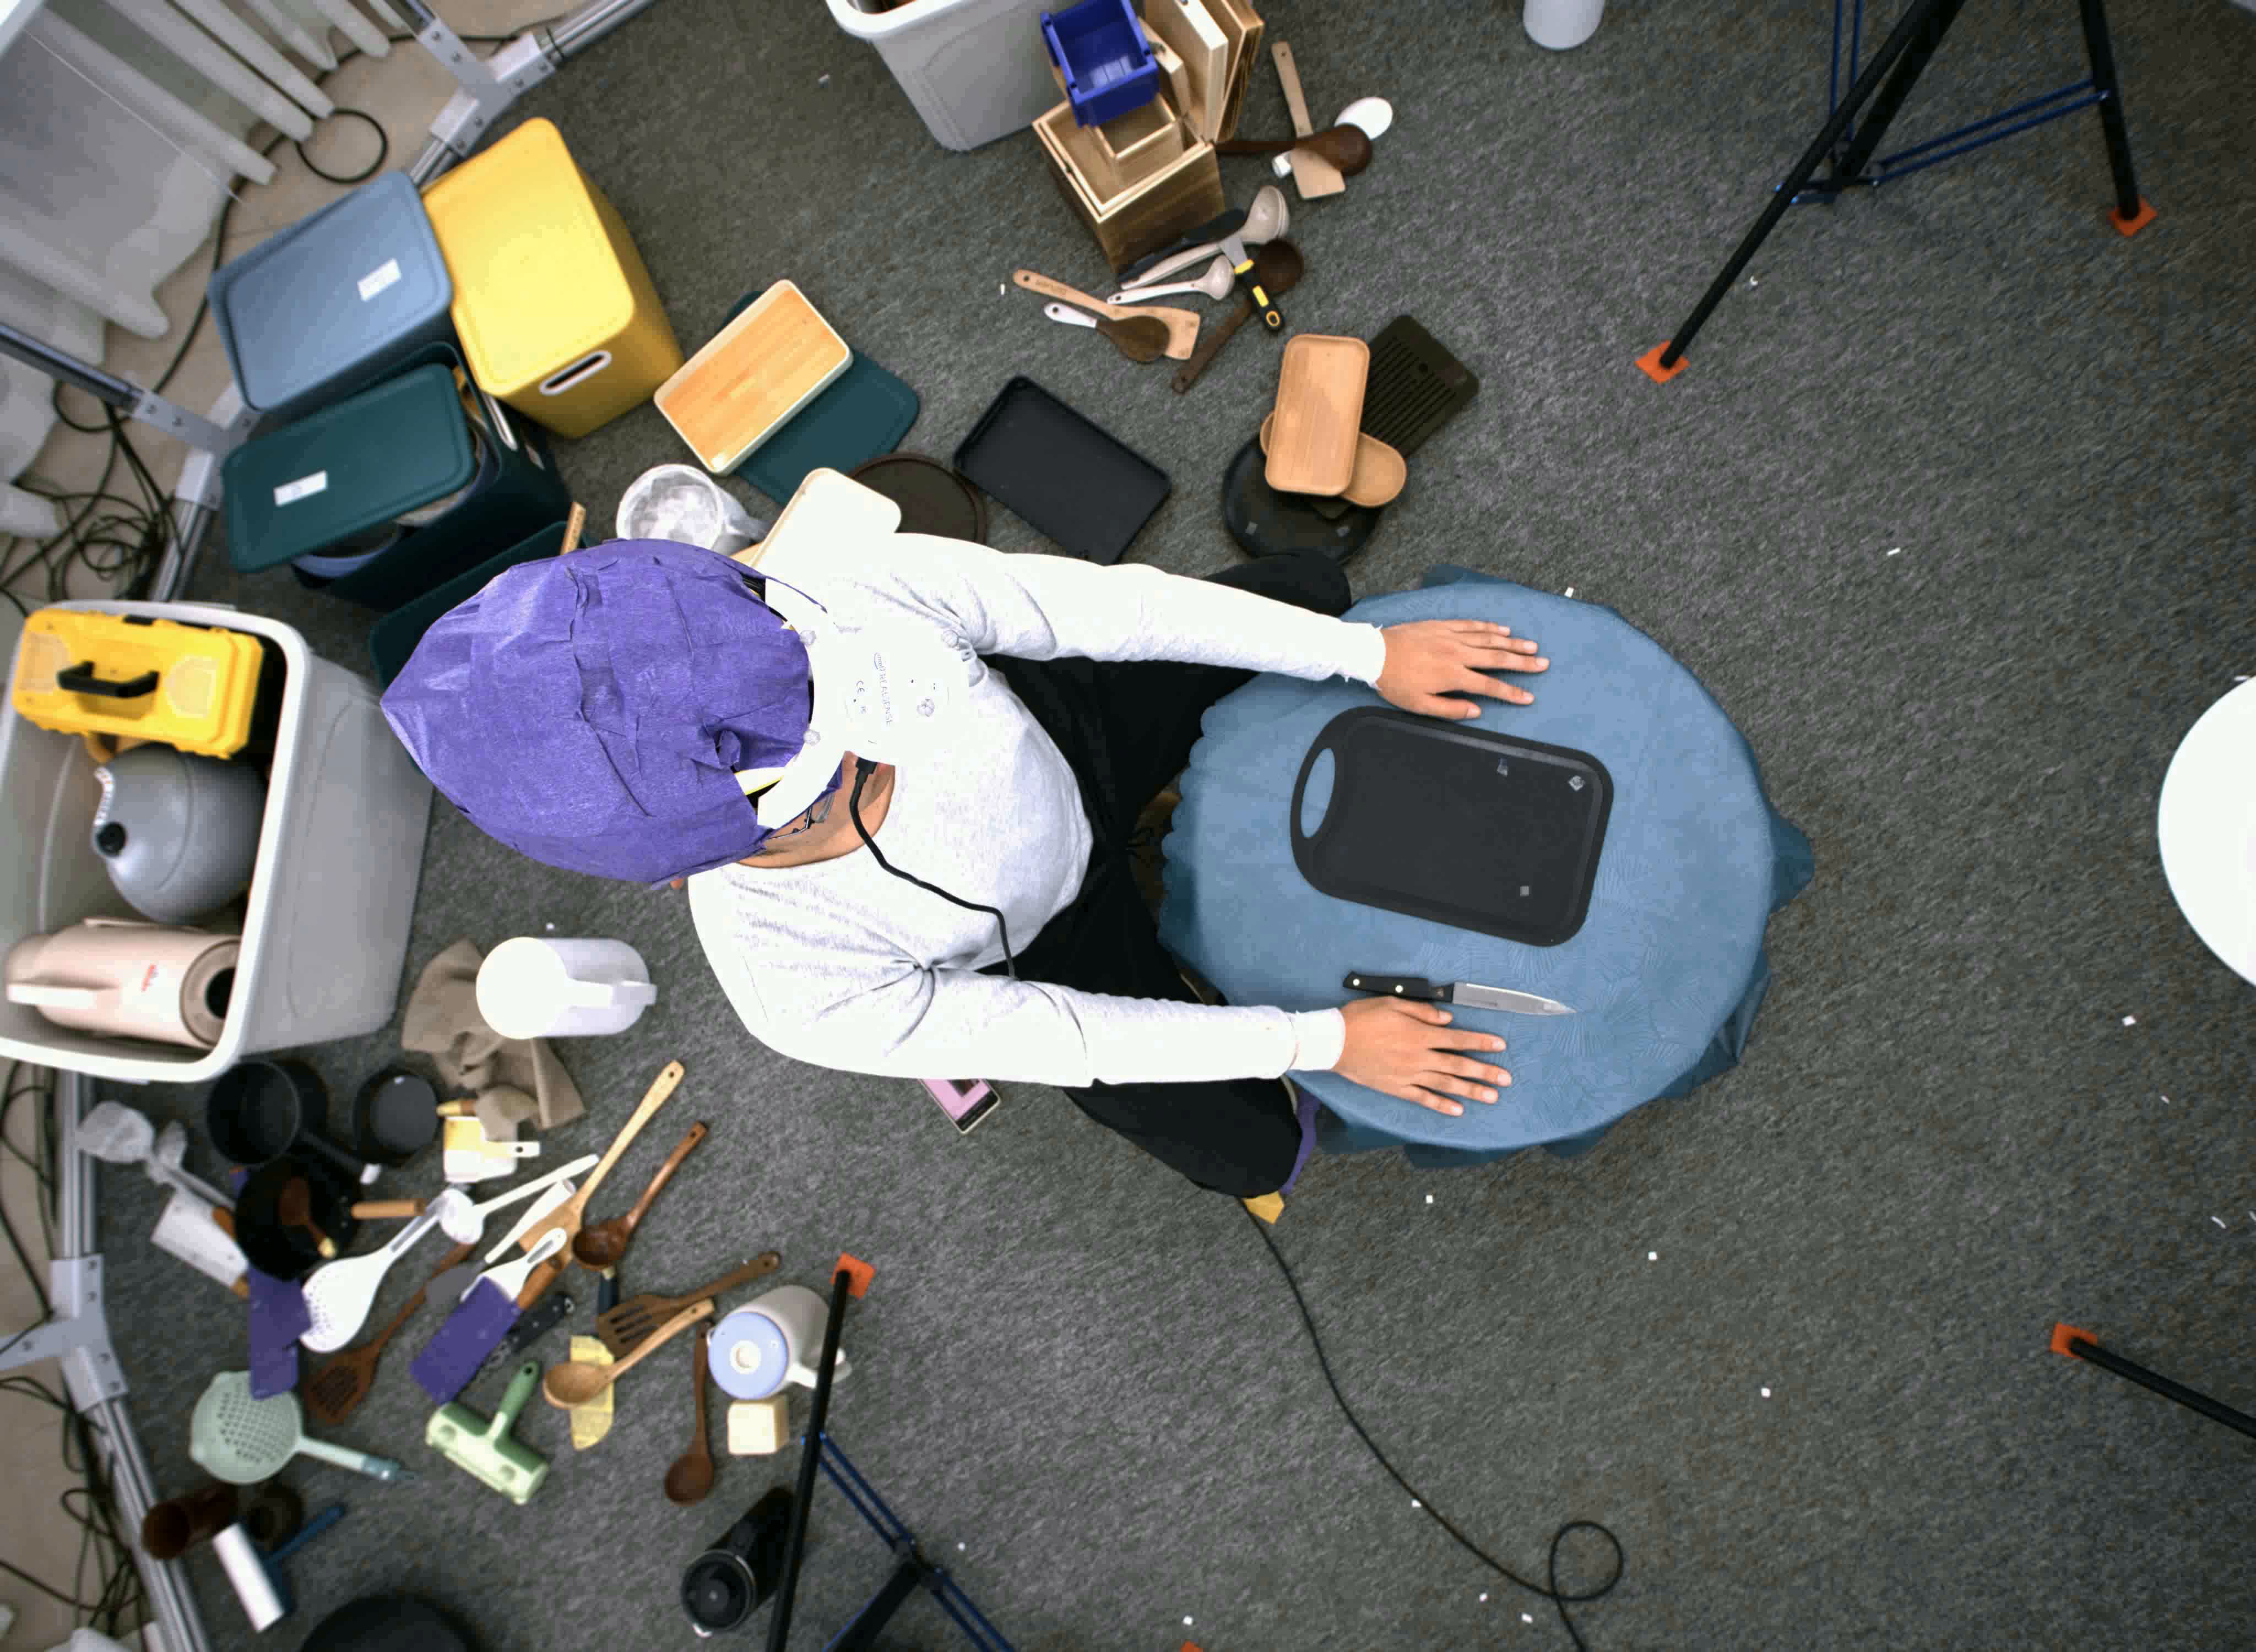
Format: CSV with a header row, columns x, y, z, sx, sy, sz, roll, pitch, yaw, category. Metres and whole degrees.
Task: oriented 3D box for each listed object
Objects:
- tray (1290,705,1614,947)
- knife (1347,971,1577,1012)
x,y,z,sx,sy,sz,roll,pitch,yaw,category
0.333,-0.006,1.450,0.326,0.010,0.210,14,89,11,tray
0.346,0.173,1.434,0.239,0.016,0.024,6,88,8,knife
